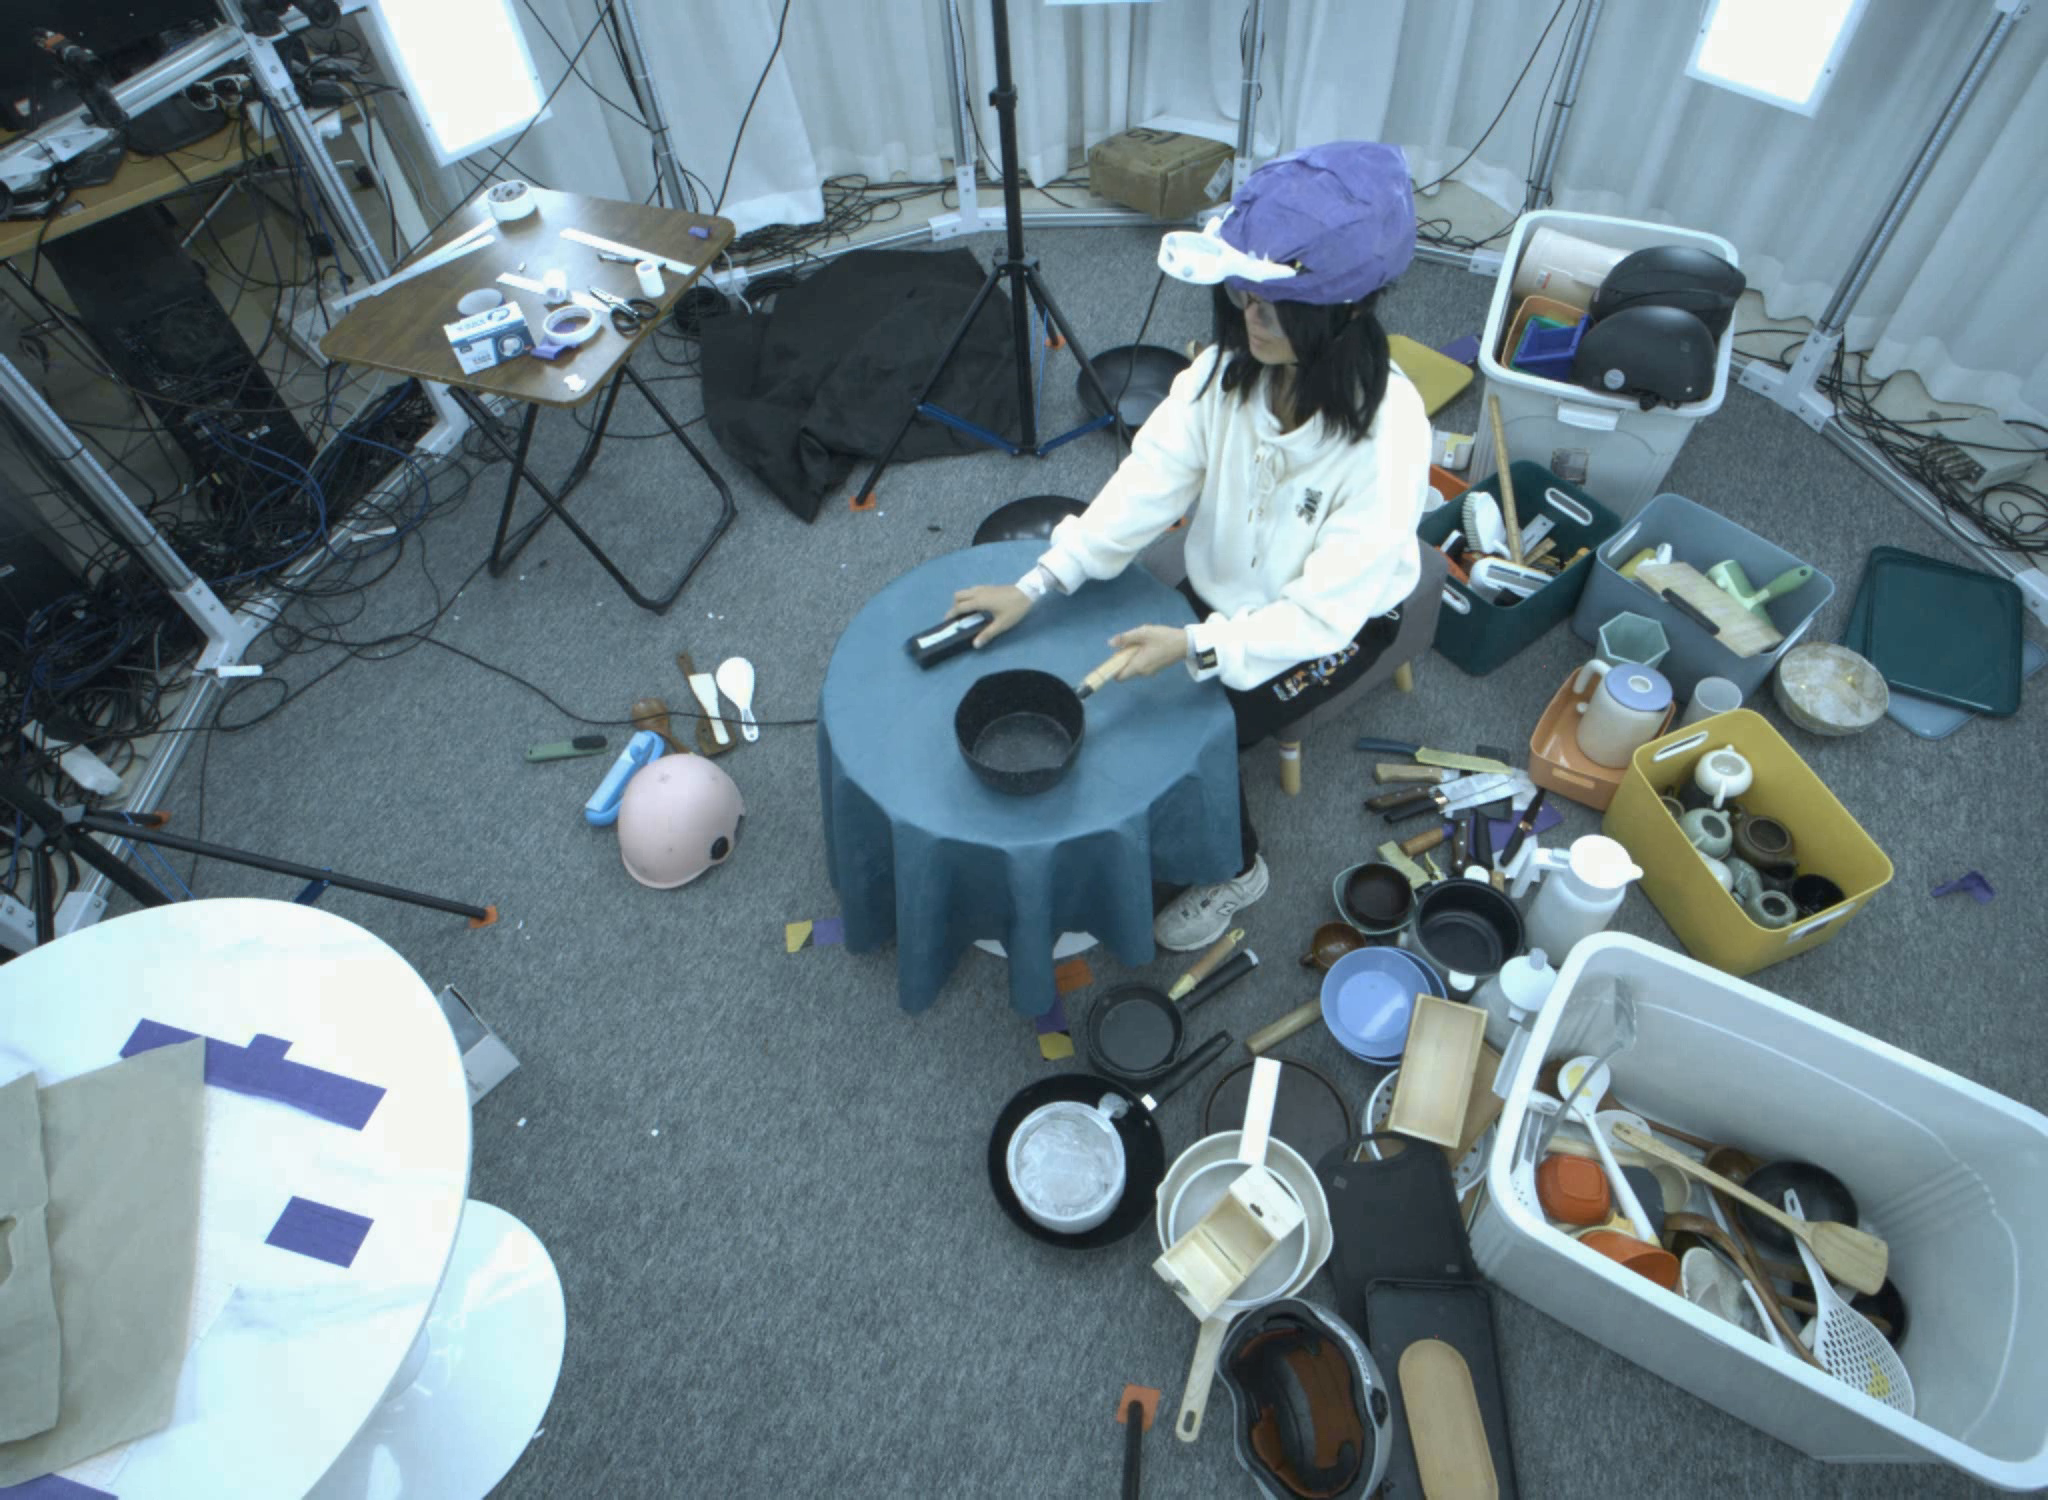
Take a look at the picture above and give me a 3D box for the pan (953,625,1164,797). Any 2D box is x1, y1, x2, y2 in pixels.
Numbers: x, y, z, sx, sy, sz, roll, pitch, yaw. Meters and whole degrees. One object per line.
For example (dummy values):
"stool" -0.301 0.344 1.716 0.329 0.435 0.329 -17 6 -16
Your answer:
"pan" 0.059 -0.066 1.765 0.345 0.109 0.203 -32 59 -17

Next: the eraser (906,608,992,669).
"eraser" -0.116 -0.173 1.897 0.126 0.031 0.052 -26 58 -17
